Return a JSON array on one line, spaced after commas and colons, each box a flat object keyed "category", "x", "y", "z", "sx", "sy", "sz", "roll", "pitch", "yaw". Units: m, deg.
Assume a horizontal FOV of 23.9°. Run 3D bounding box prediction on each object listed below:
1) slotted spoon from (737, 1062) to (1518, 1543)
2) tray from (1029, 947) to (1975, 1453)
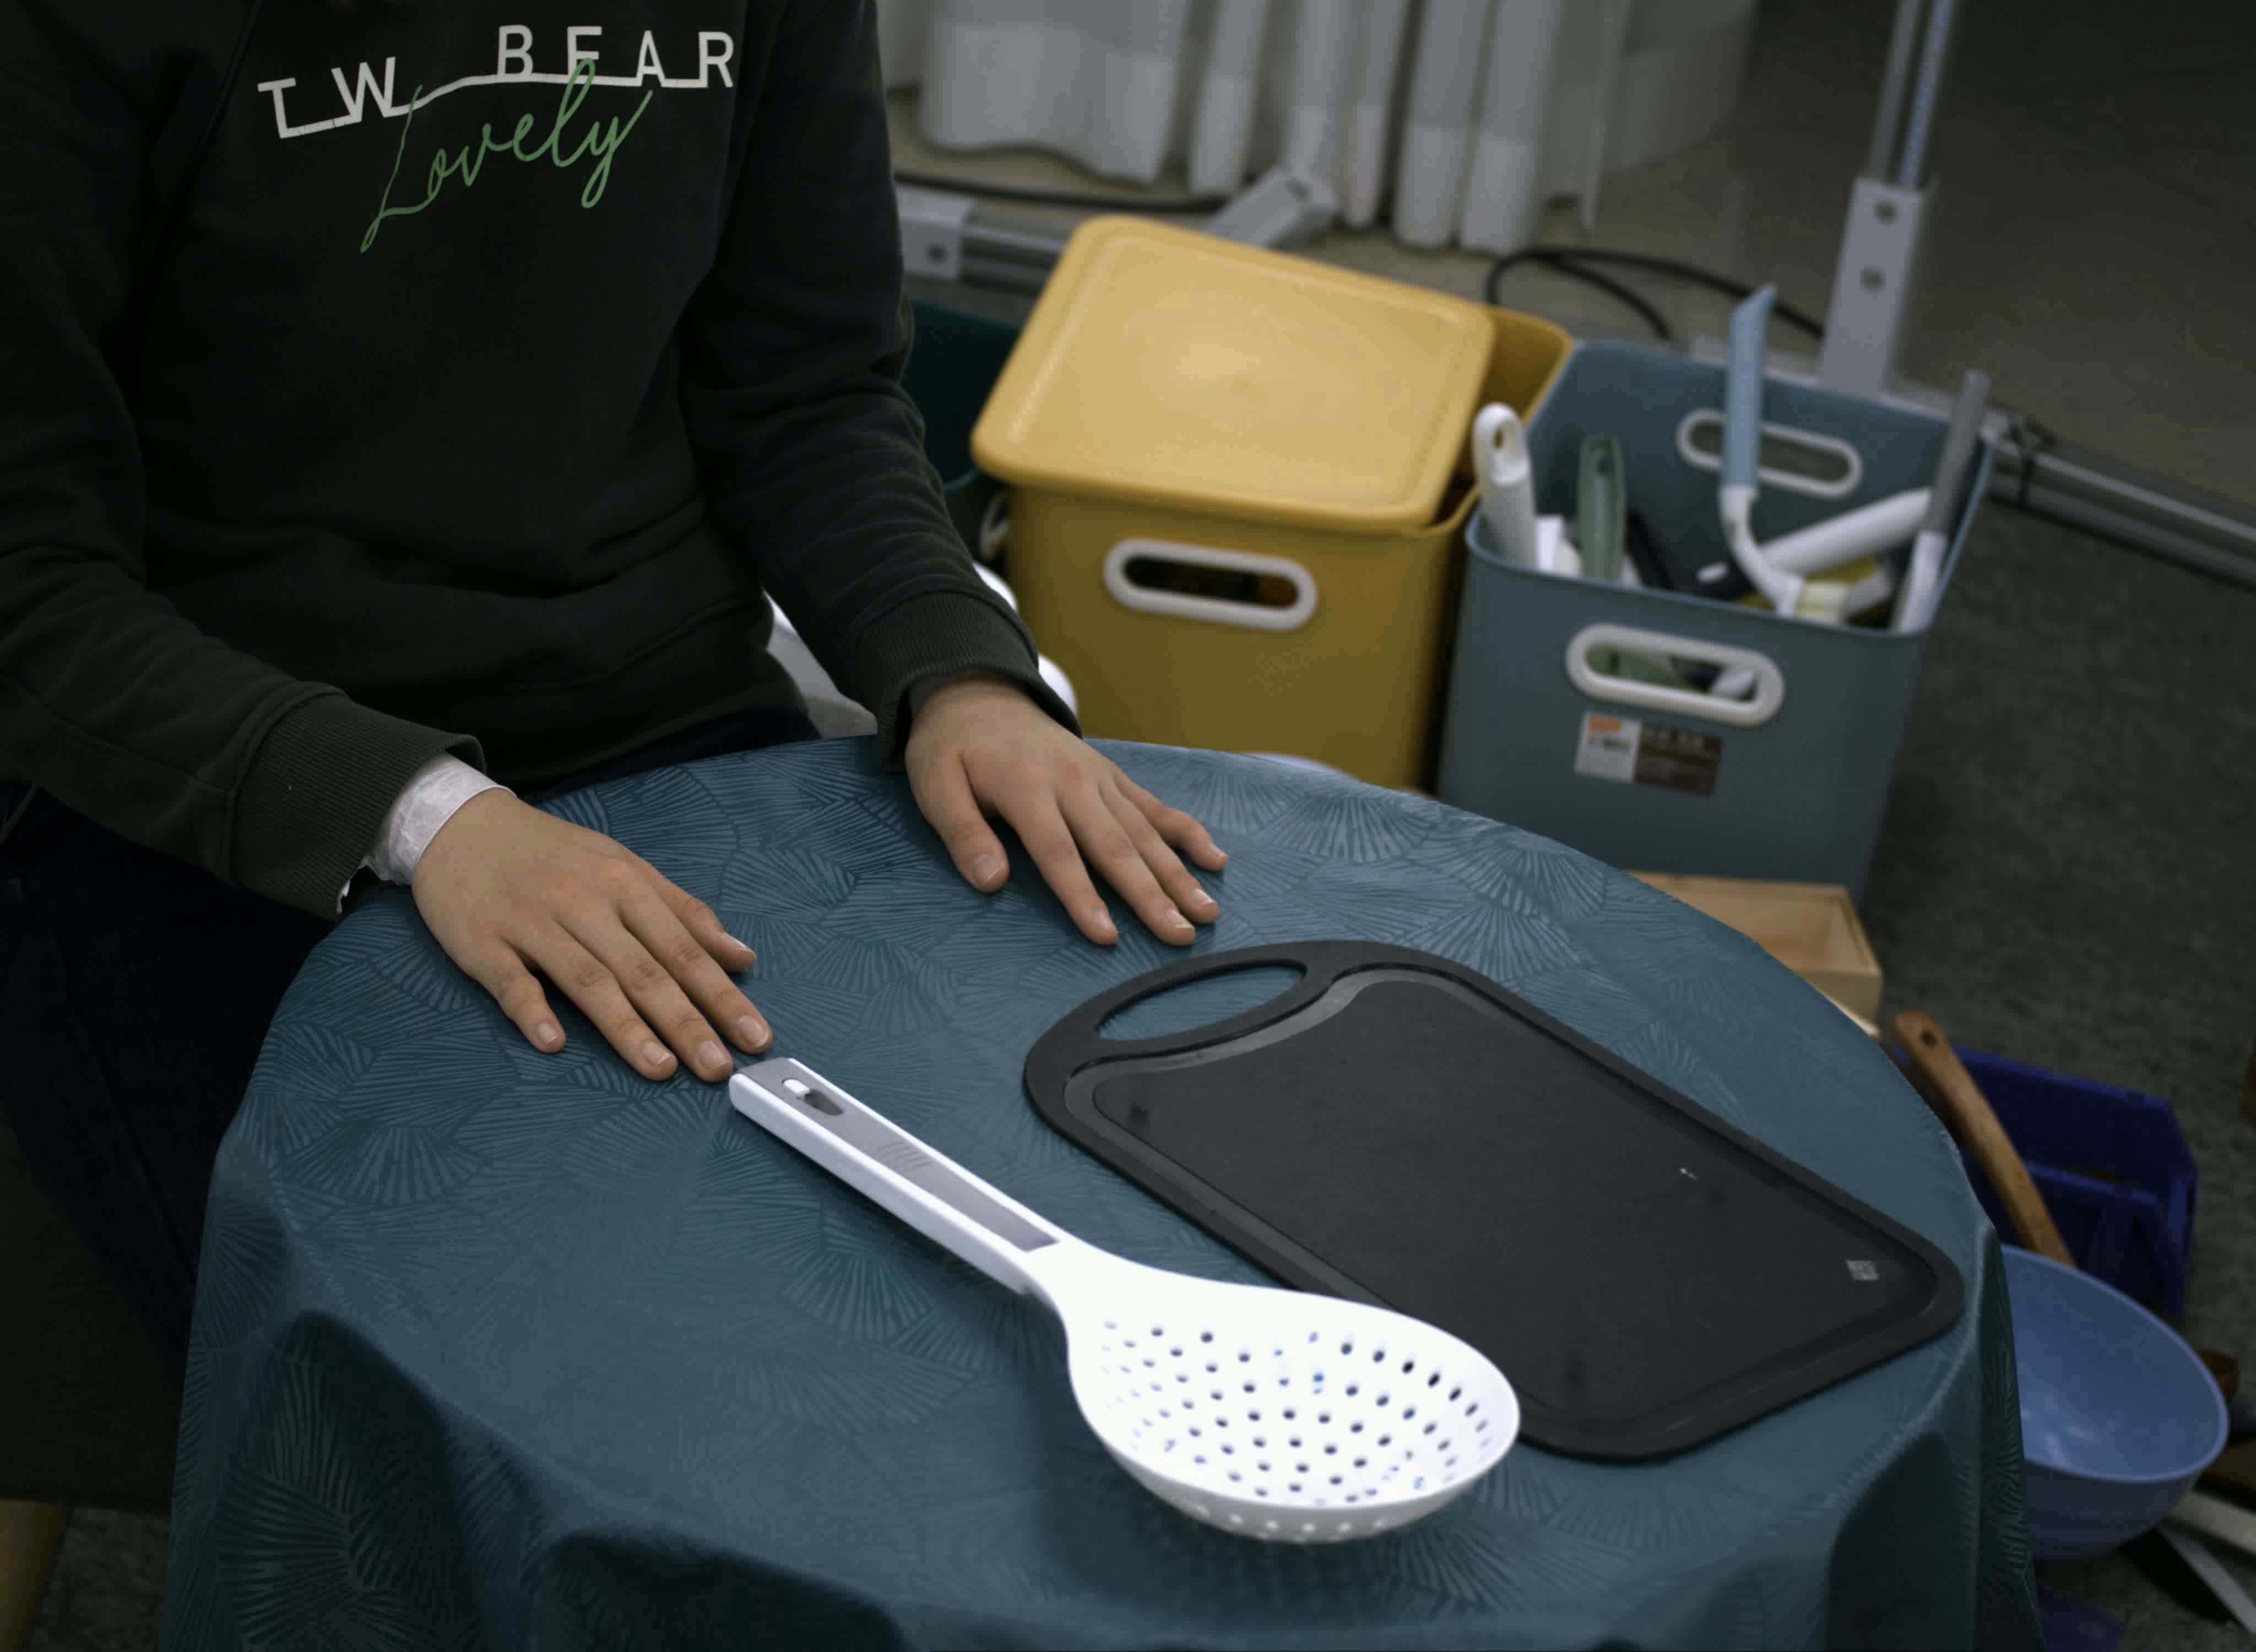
[{"category": "slotted spoon", "x": -0.017, "y": 0.146, "z": 1.702, "sx": 0.135, "sy": 0.045, "sz": 0.353, "roll": -13, "pitch": 31, "yaw": -37}, {"category": "tray", "x": 0.119, "y": 0.118, "z": 1.830, "sx": 0.210, "sy": 0.010, "sz": 0.328, "roll": -17, "pitch": 34, "yaw": -39}]
